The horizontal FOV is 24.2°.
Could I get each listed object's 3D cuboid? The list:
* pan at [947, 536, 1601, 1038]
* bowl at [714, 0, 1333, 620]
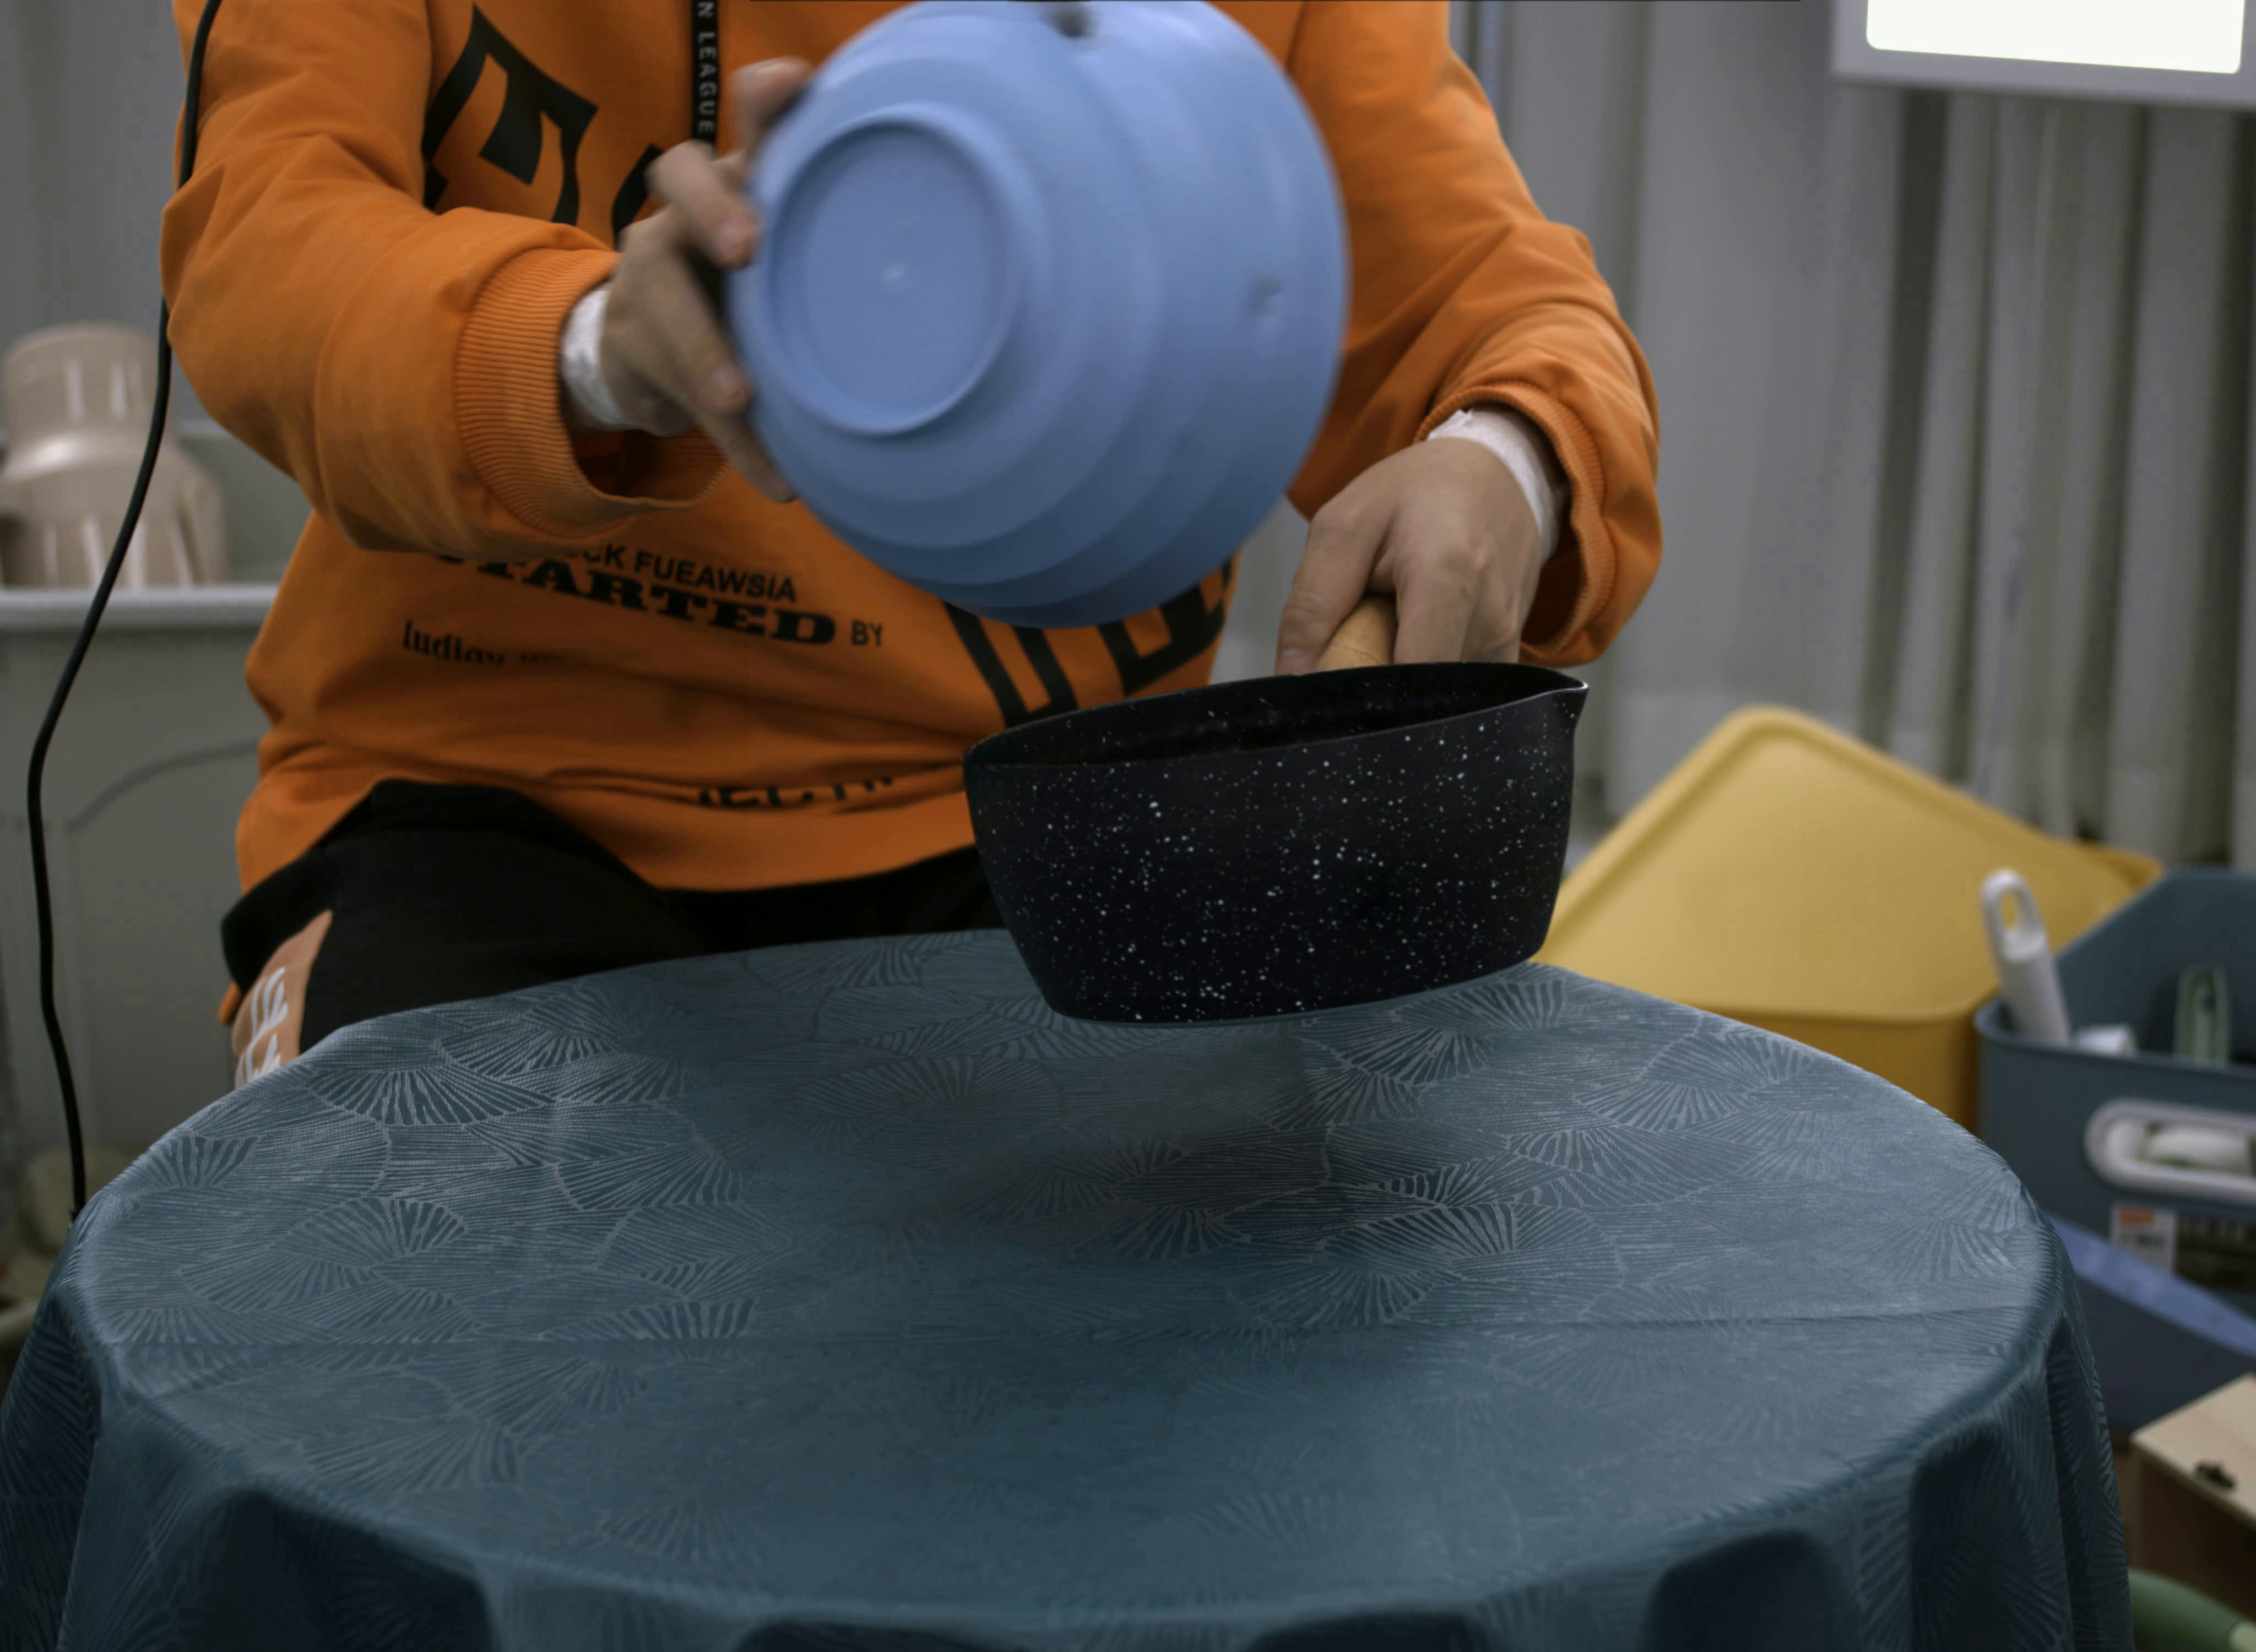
[{"bbox_3d":[0.061,-0.018,1.675,0.206,0.109,0.343,-7,9,13],"label":"pan"},{"bbox_3d":[-0.048,-0.157,1.516,0.194,0.197,0.096,12,10,33],"label":"bowl"}]
